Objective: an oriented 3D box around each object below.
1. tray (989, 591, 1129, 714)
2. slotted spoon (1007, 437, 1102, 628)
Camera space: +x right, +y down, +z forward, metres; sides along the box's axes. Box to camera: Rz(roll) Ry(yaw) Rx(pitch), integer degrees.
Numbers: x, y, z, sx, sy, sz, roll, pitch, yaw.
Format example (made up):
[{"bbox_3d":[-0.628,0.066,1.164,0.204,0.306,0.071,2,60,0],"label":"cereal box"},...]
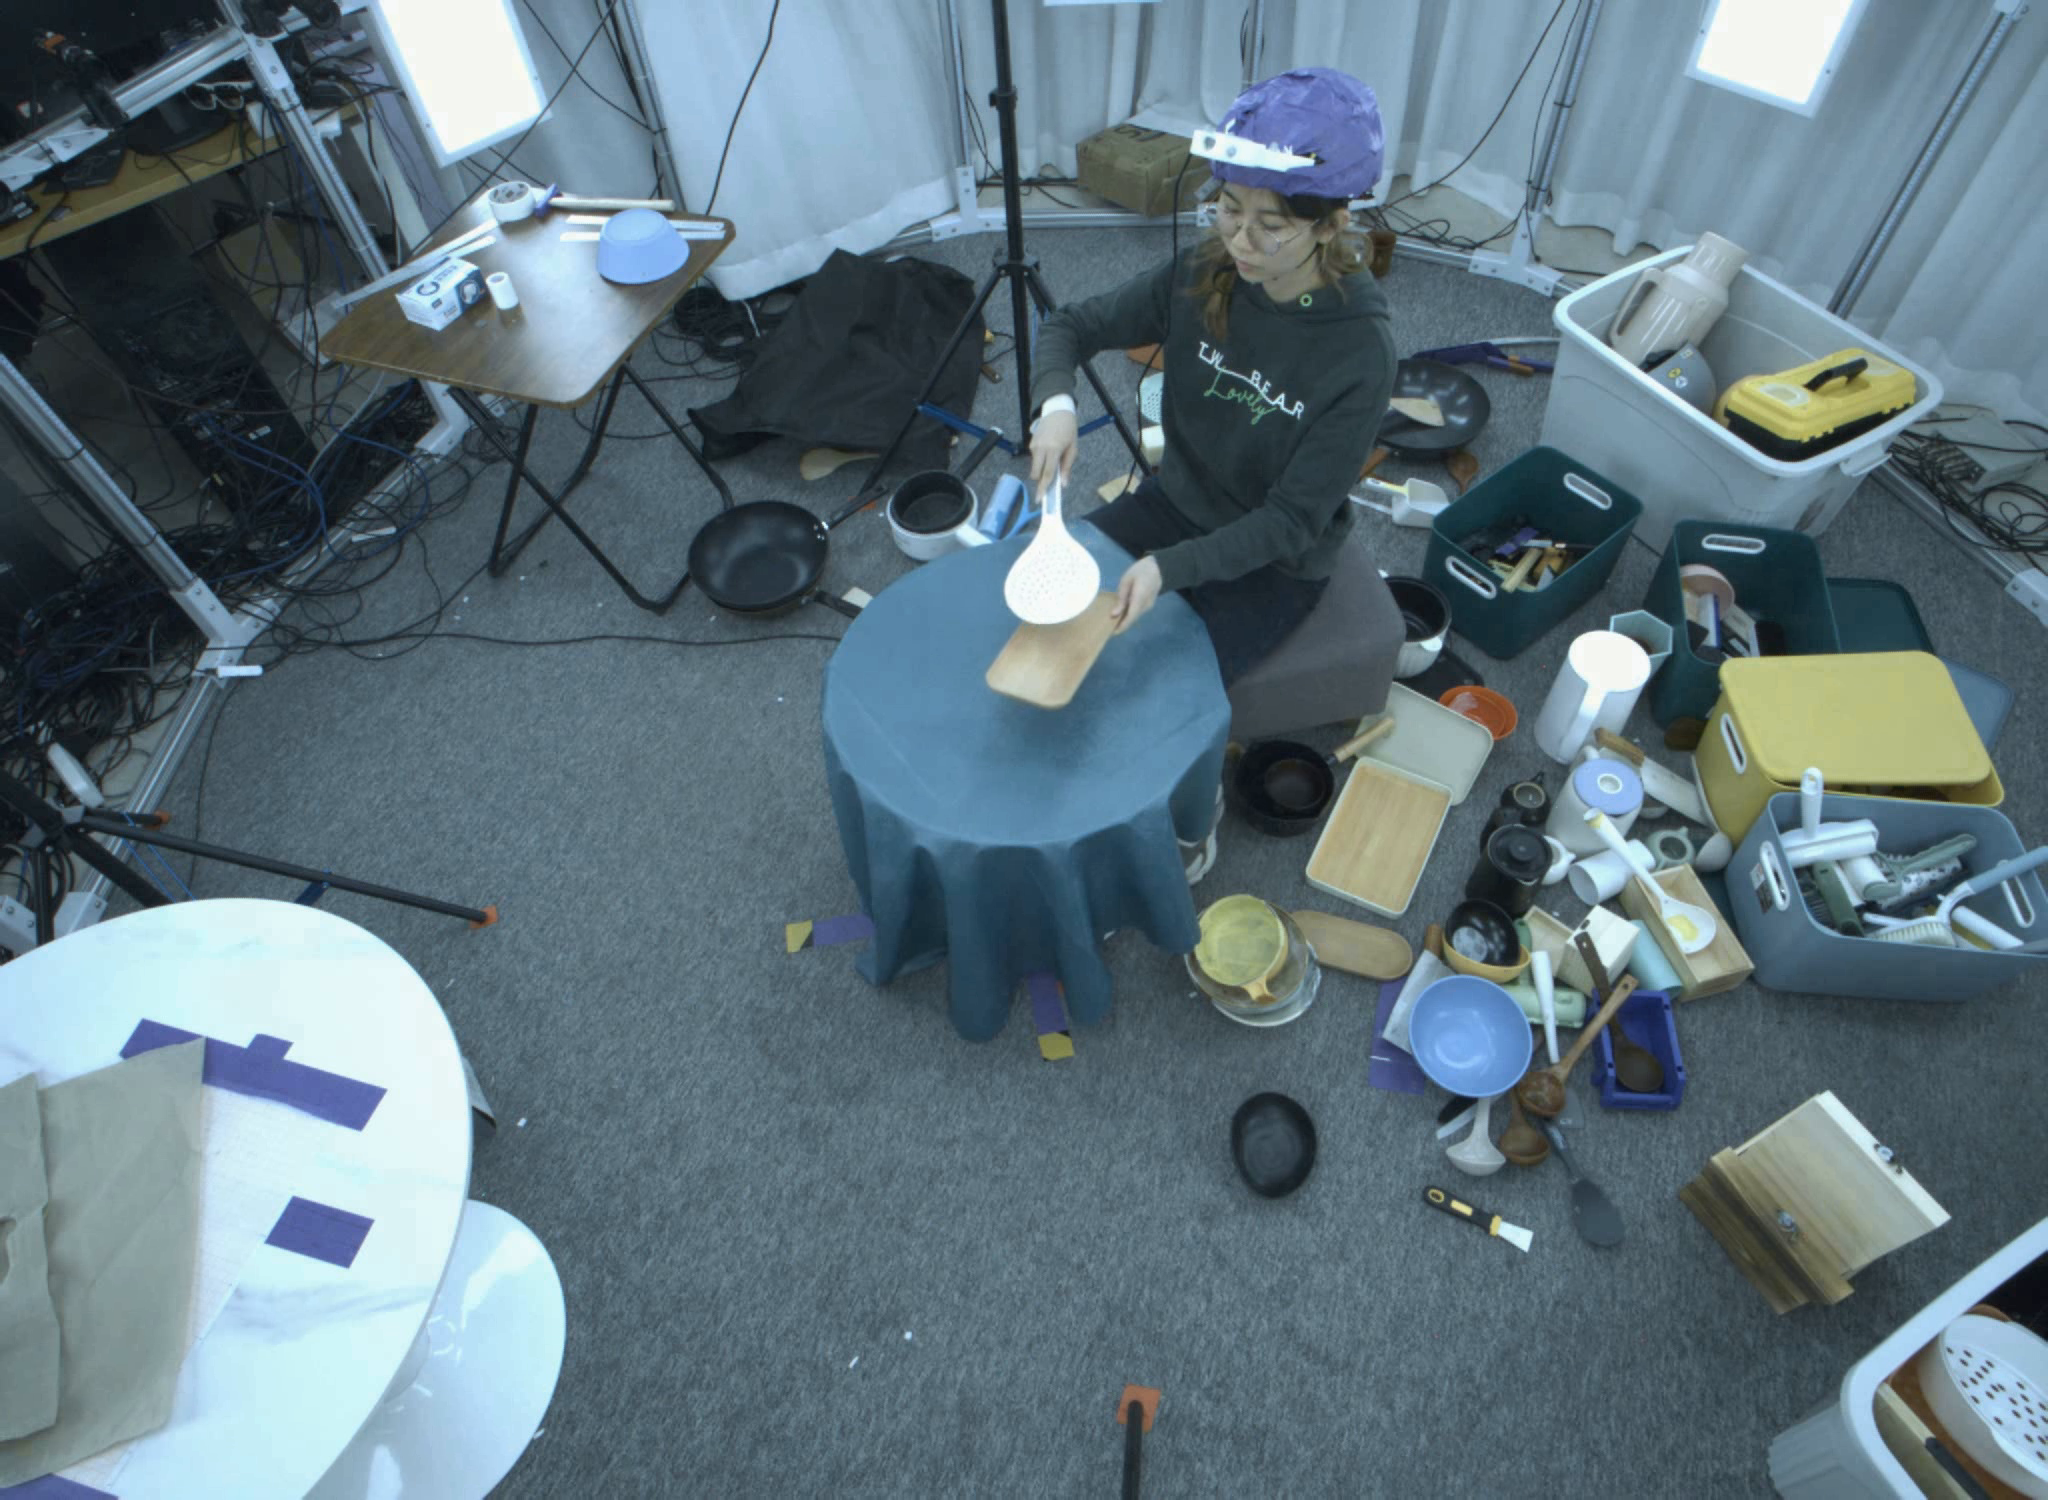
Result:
[{"bbox_3d":[0.052,-0.149,1.770,0.129,0.023,0.251,22,52,14],"label":"tray"},{"bbox_3d":[0.044,-0.323,1.794,0.135,0.046,0.347,-5,68,9],"label":"slotted spoon"}]
